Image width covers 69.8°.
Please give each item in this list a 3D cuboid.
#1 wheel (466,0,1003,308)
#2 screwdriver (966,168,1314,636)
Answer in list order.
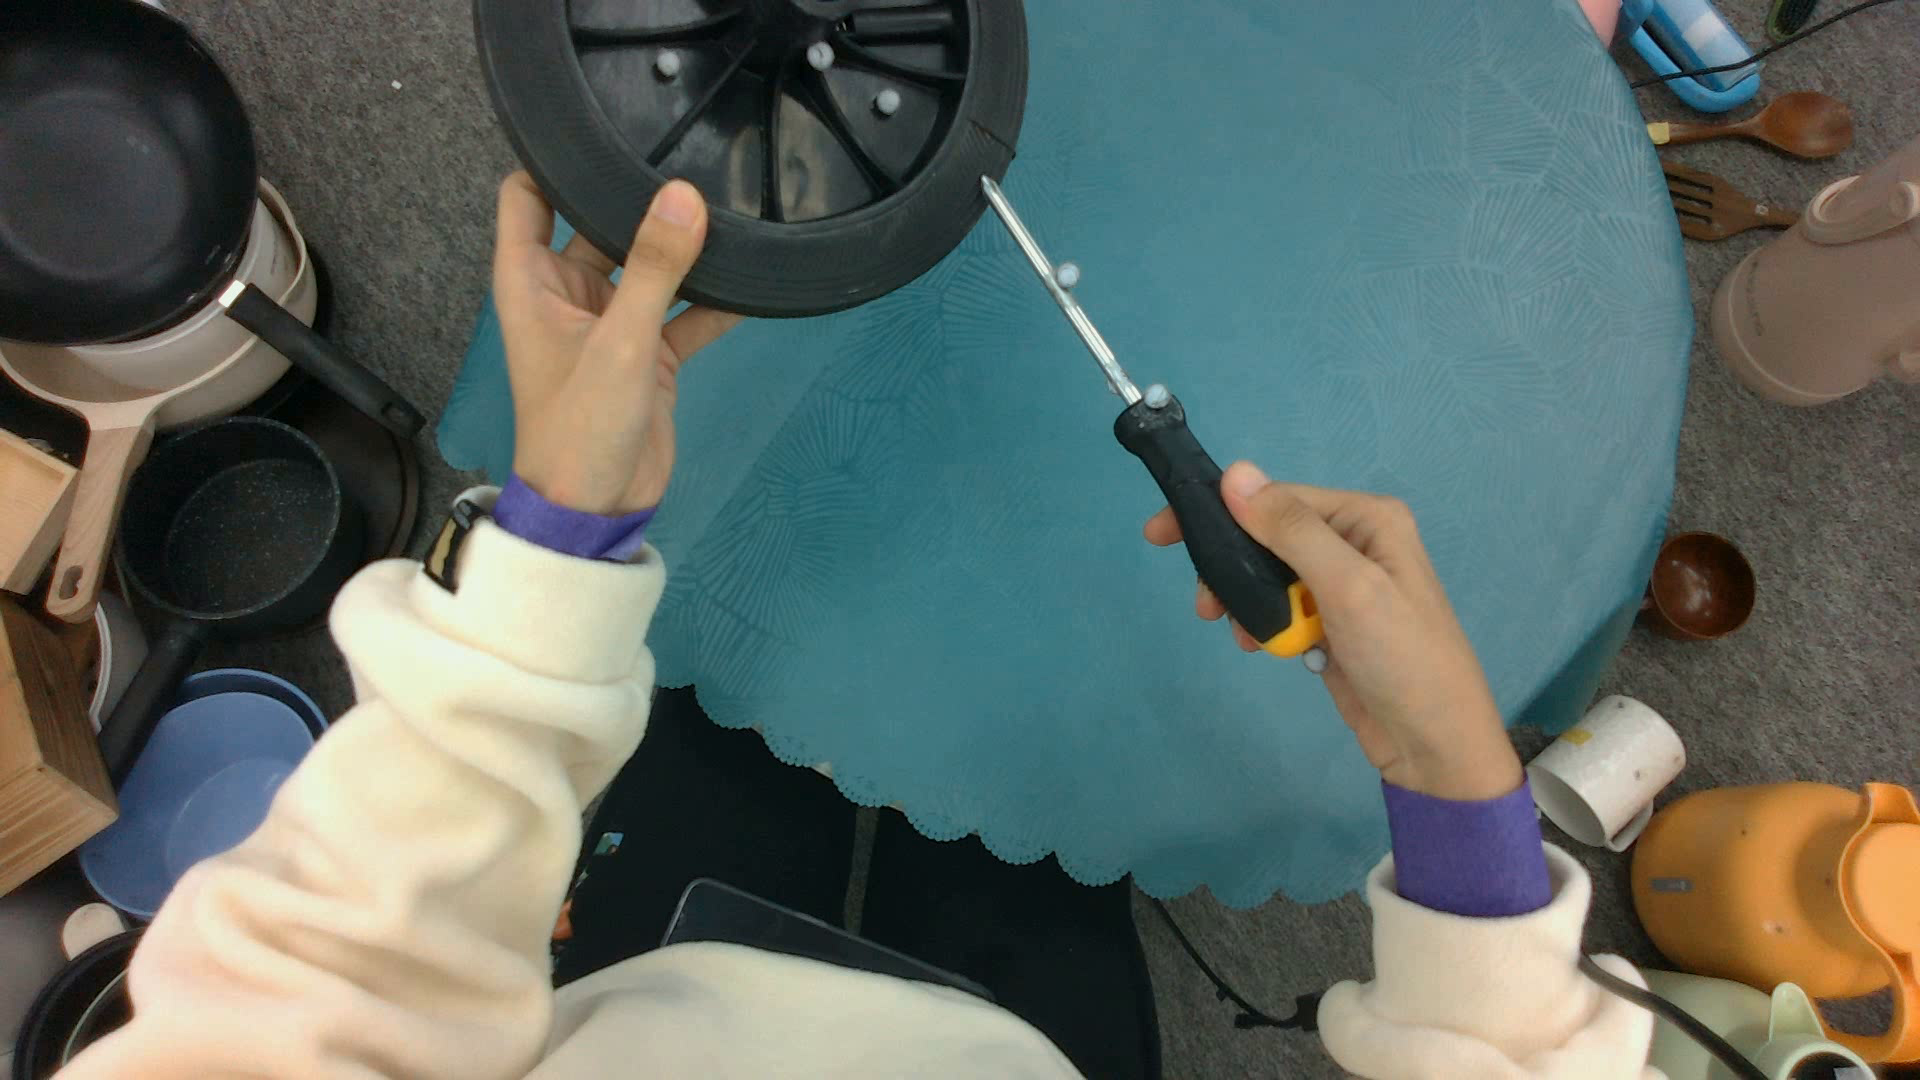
[{"bbox_3d":[-0.060,-0.175,0.454,0.190,0.079,0.187,-38,105,-22],"label":"wheel"},{"bbox_3d":[0.058,-0.054,0.464,0.031,0.031,0.196,-28,78,-10],"label":"screwdriver"}]
